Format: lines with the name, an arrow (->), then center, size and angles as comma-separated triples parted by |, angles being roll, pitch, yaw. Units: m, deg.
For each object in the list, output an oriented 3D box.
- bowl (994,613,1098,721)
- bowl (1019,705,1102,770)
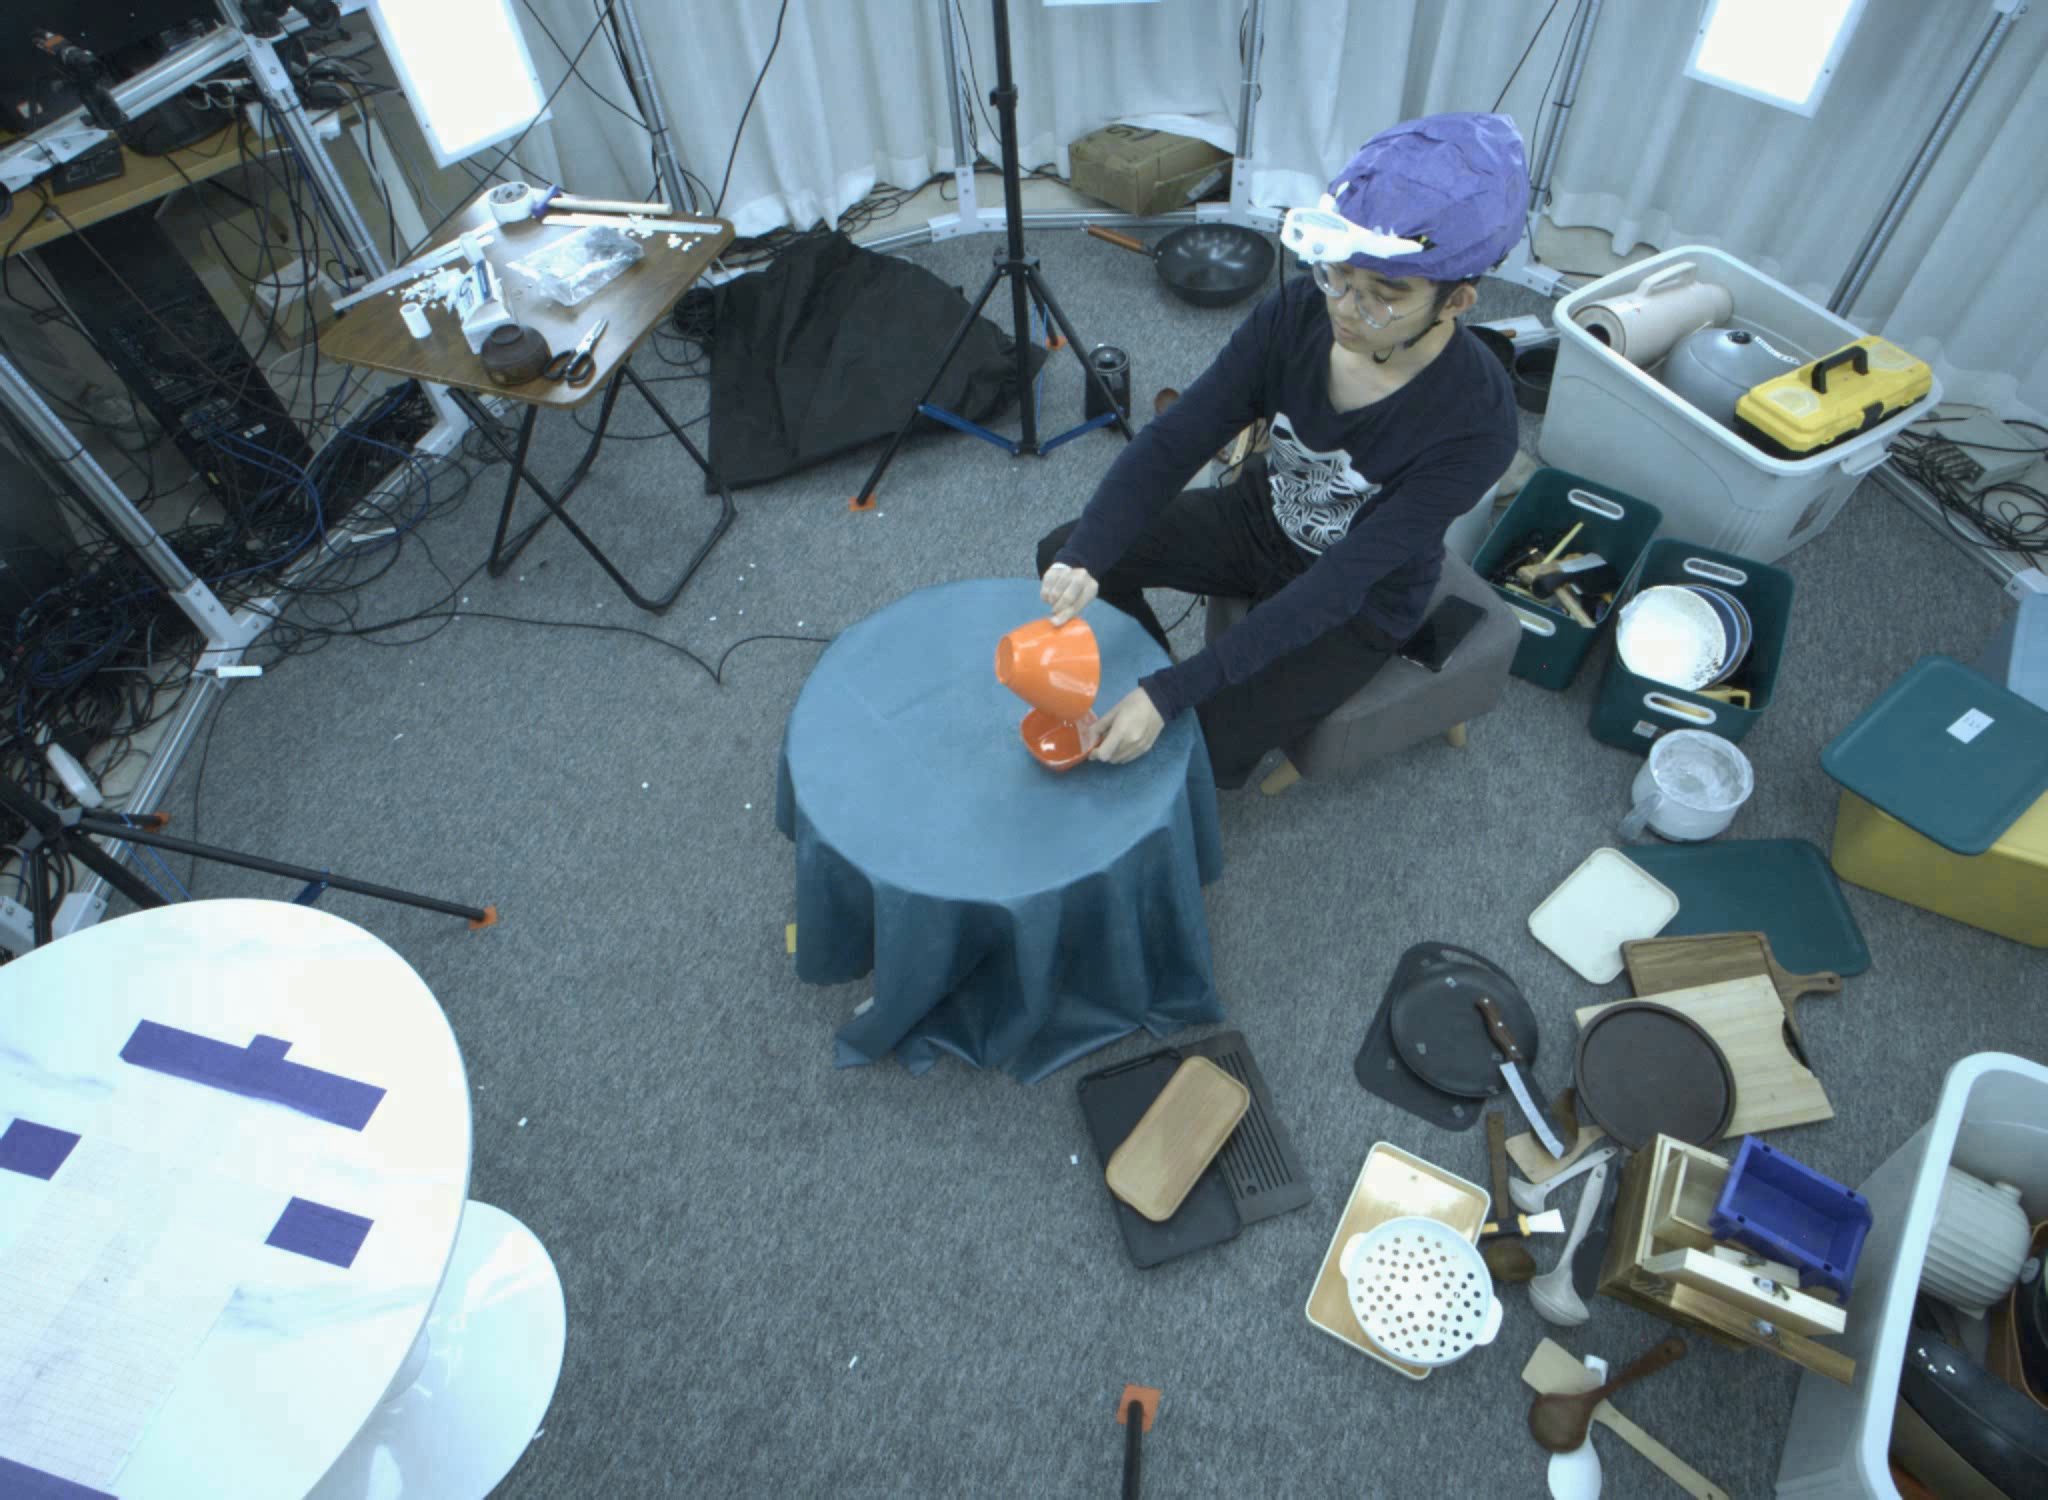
bowl -> 0.022, -0.115, 1.666 | 0.106, 0.148, 0.146 | 1, 52, -23
bowl -> 0.054, -0.017, 1.772 | 0.118, 0.052, 0.117 | -2, 55, 3
